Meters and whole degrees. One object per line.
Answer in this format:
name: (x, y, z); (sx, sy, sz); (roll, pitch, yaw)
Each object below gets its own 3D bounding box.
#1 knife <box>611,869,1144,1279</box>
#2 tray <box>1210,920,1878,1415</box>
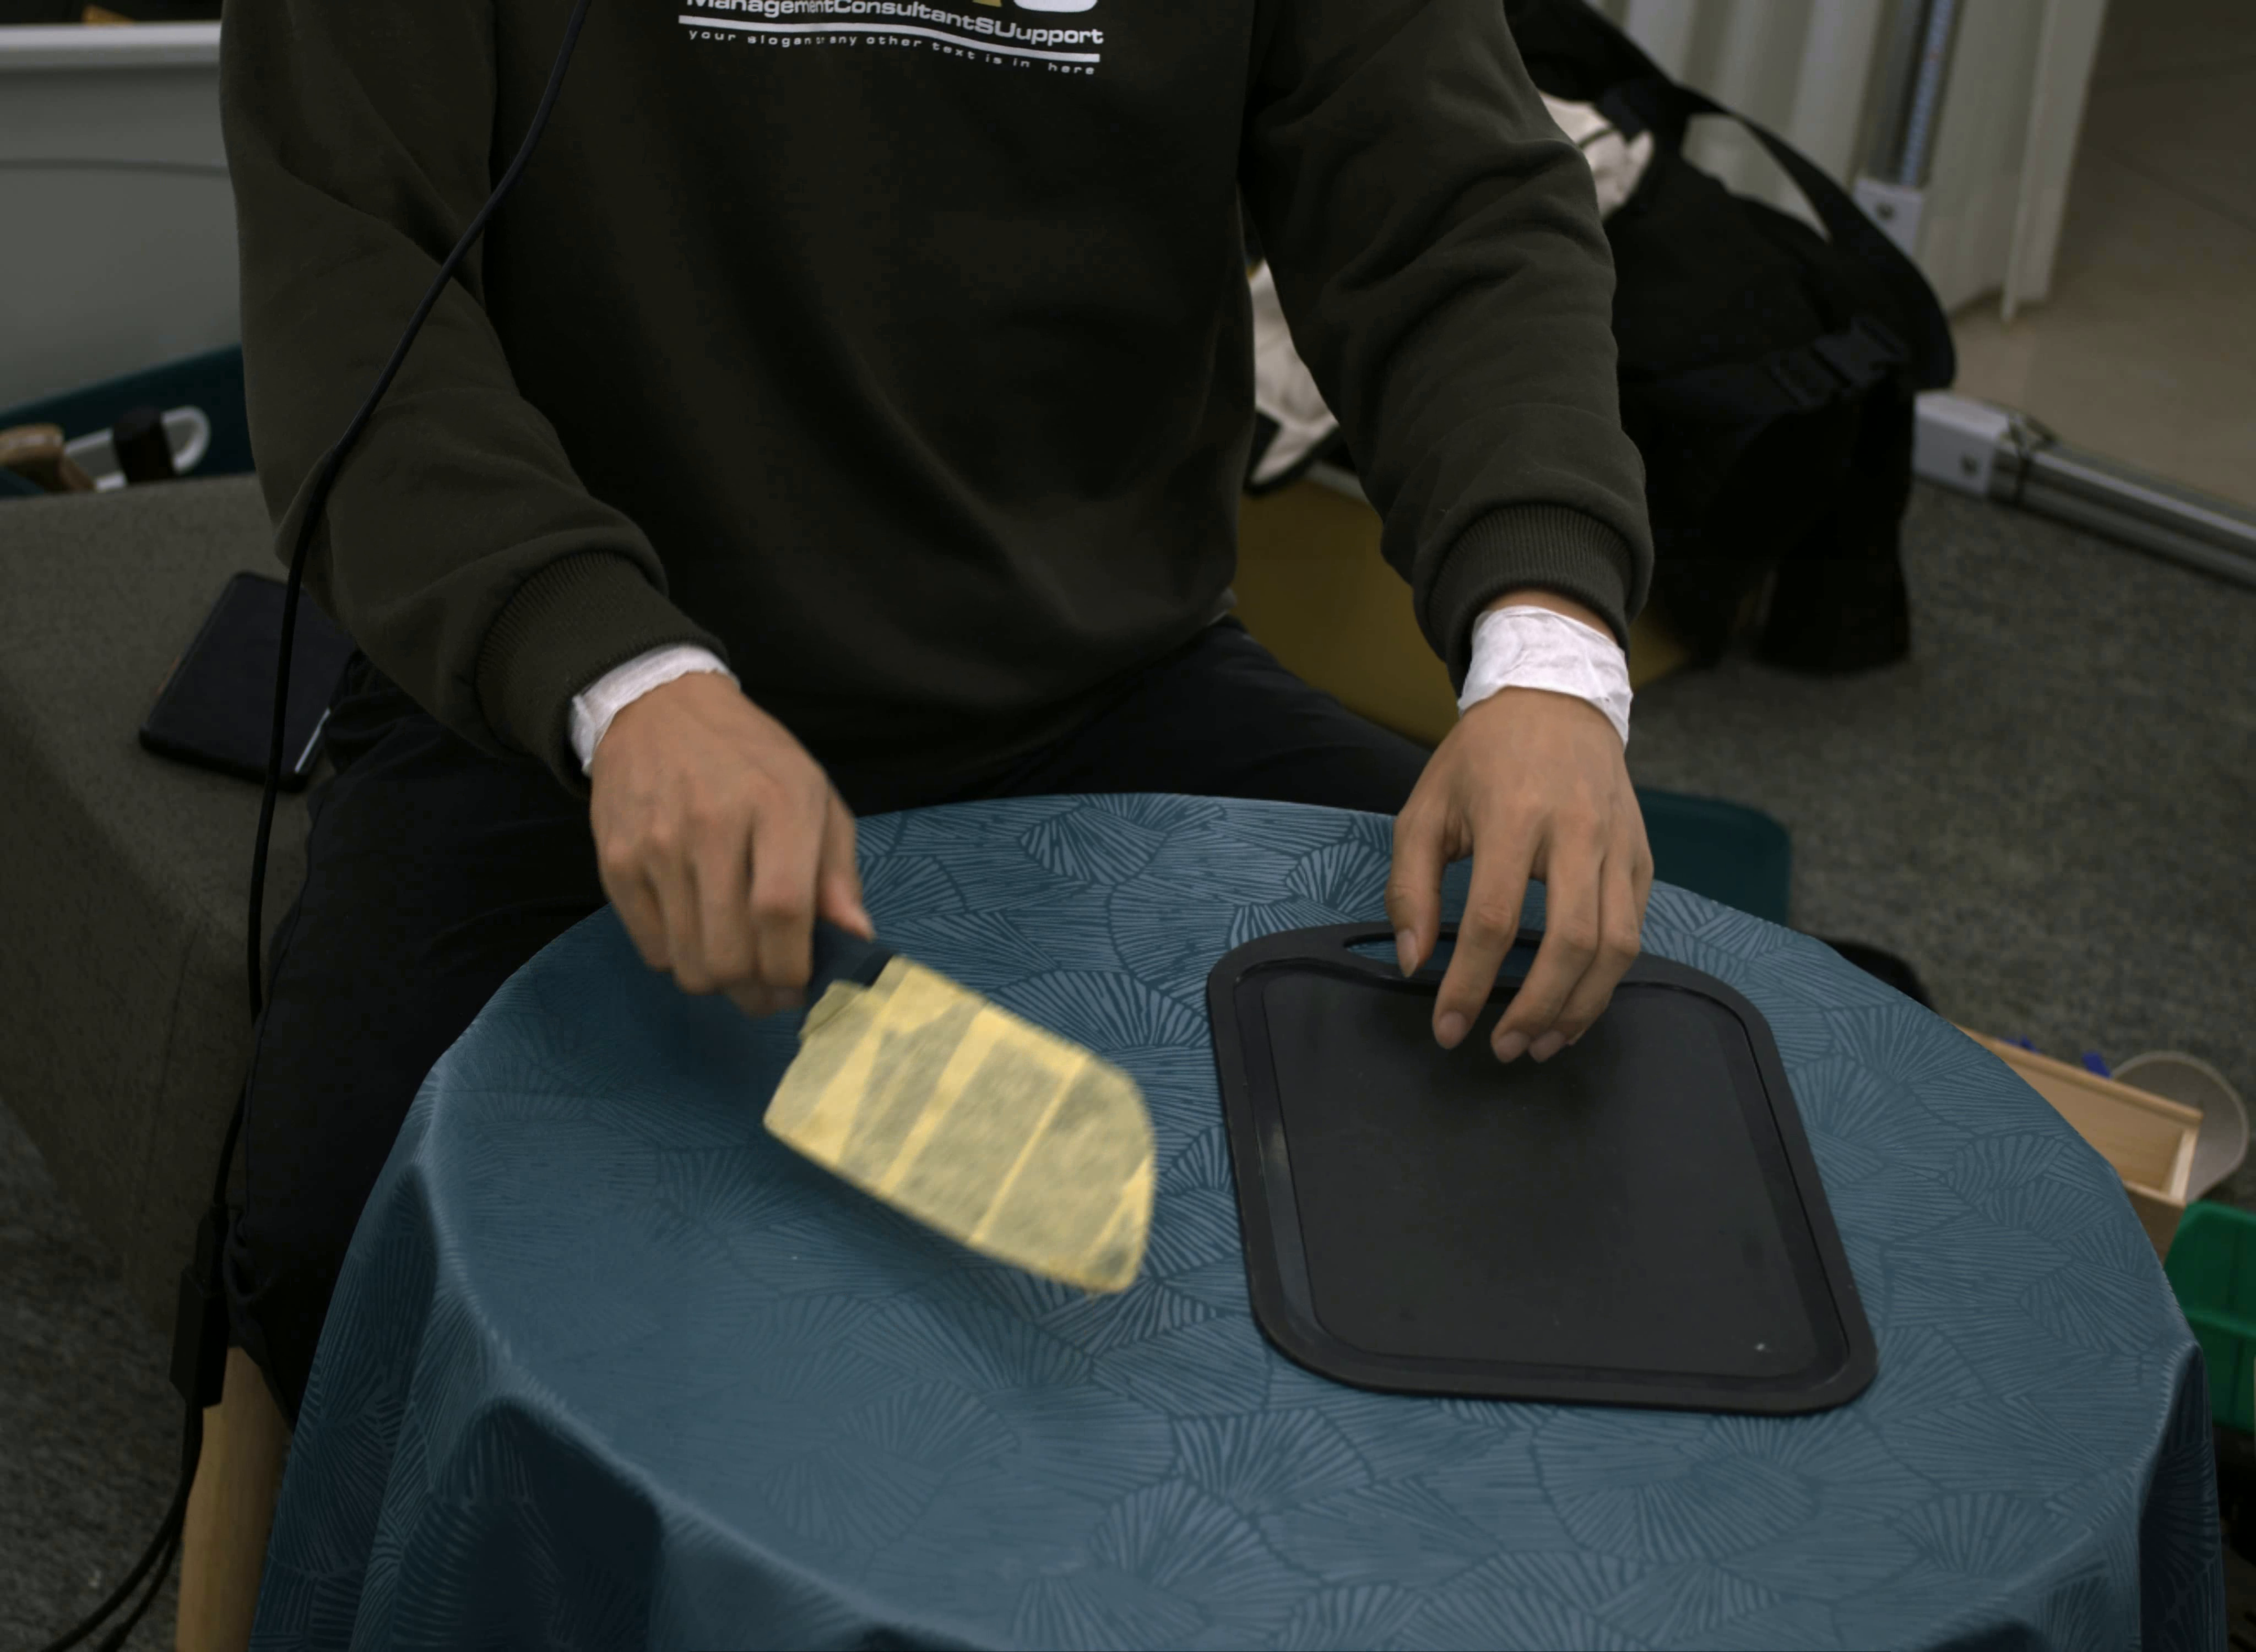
knife: (-0.091, 0.080, 1.778); (0.292, 0.081, 0.027); (29, -10, 44)
tray: (0.138, 0.110, 1.855); (0.210, 0.010, 0.327); (4, 27, -5)
